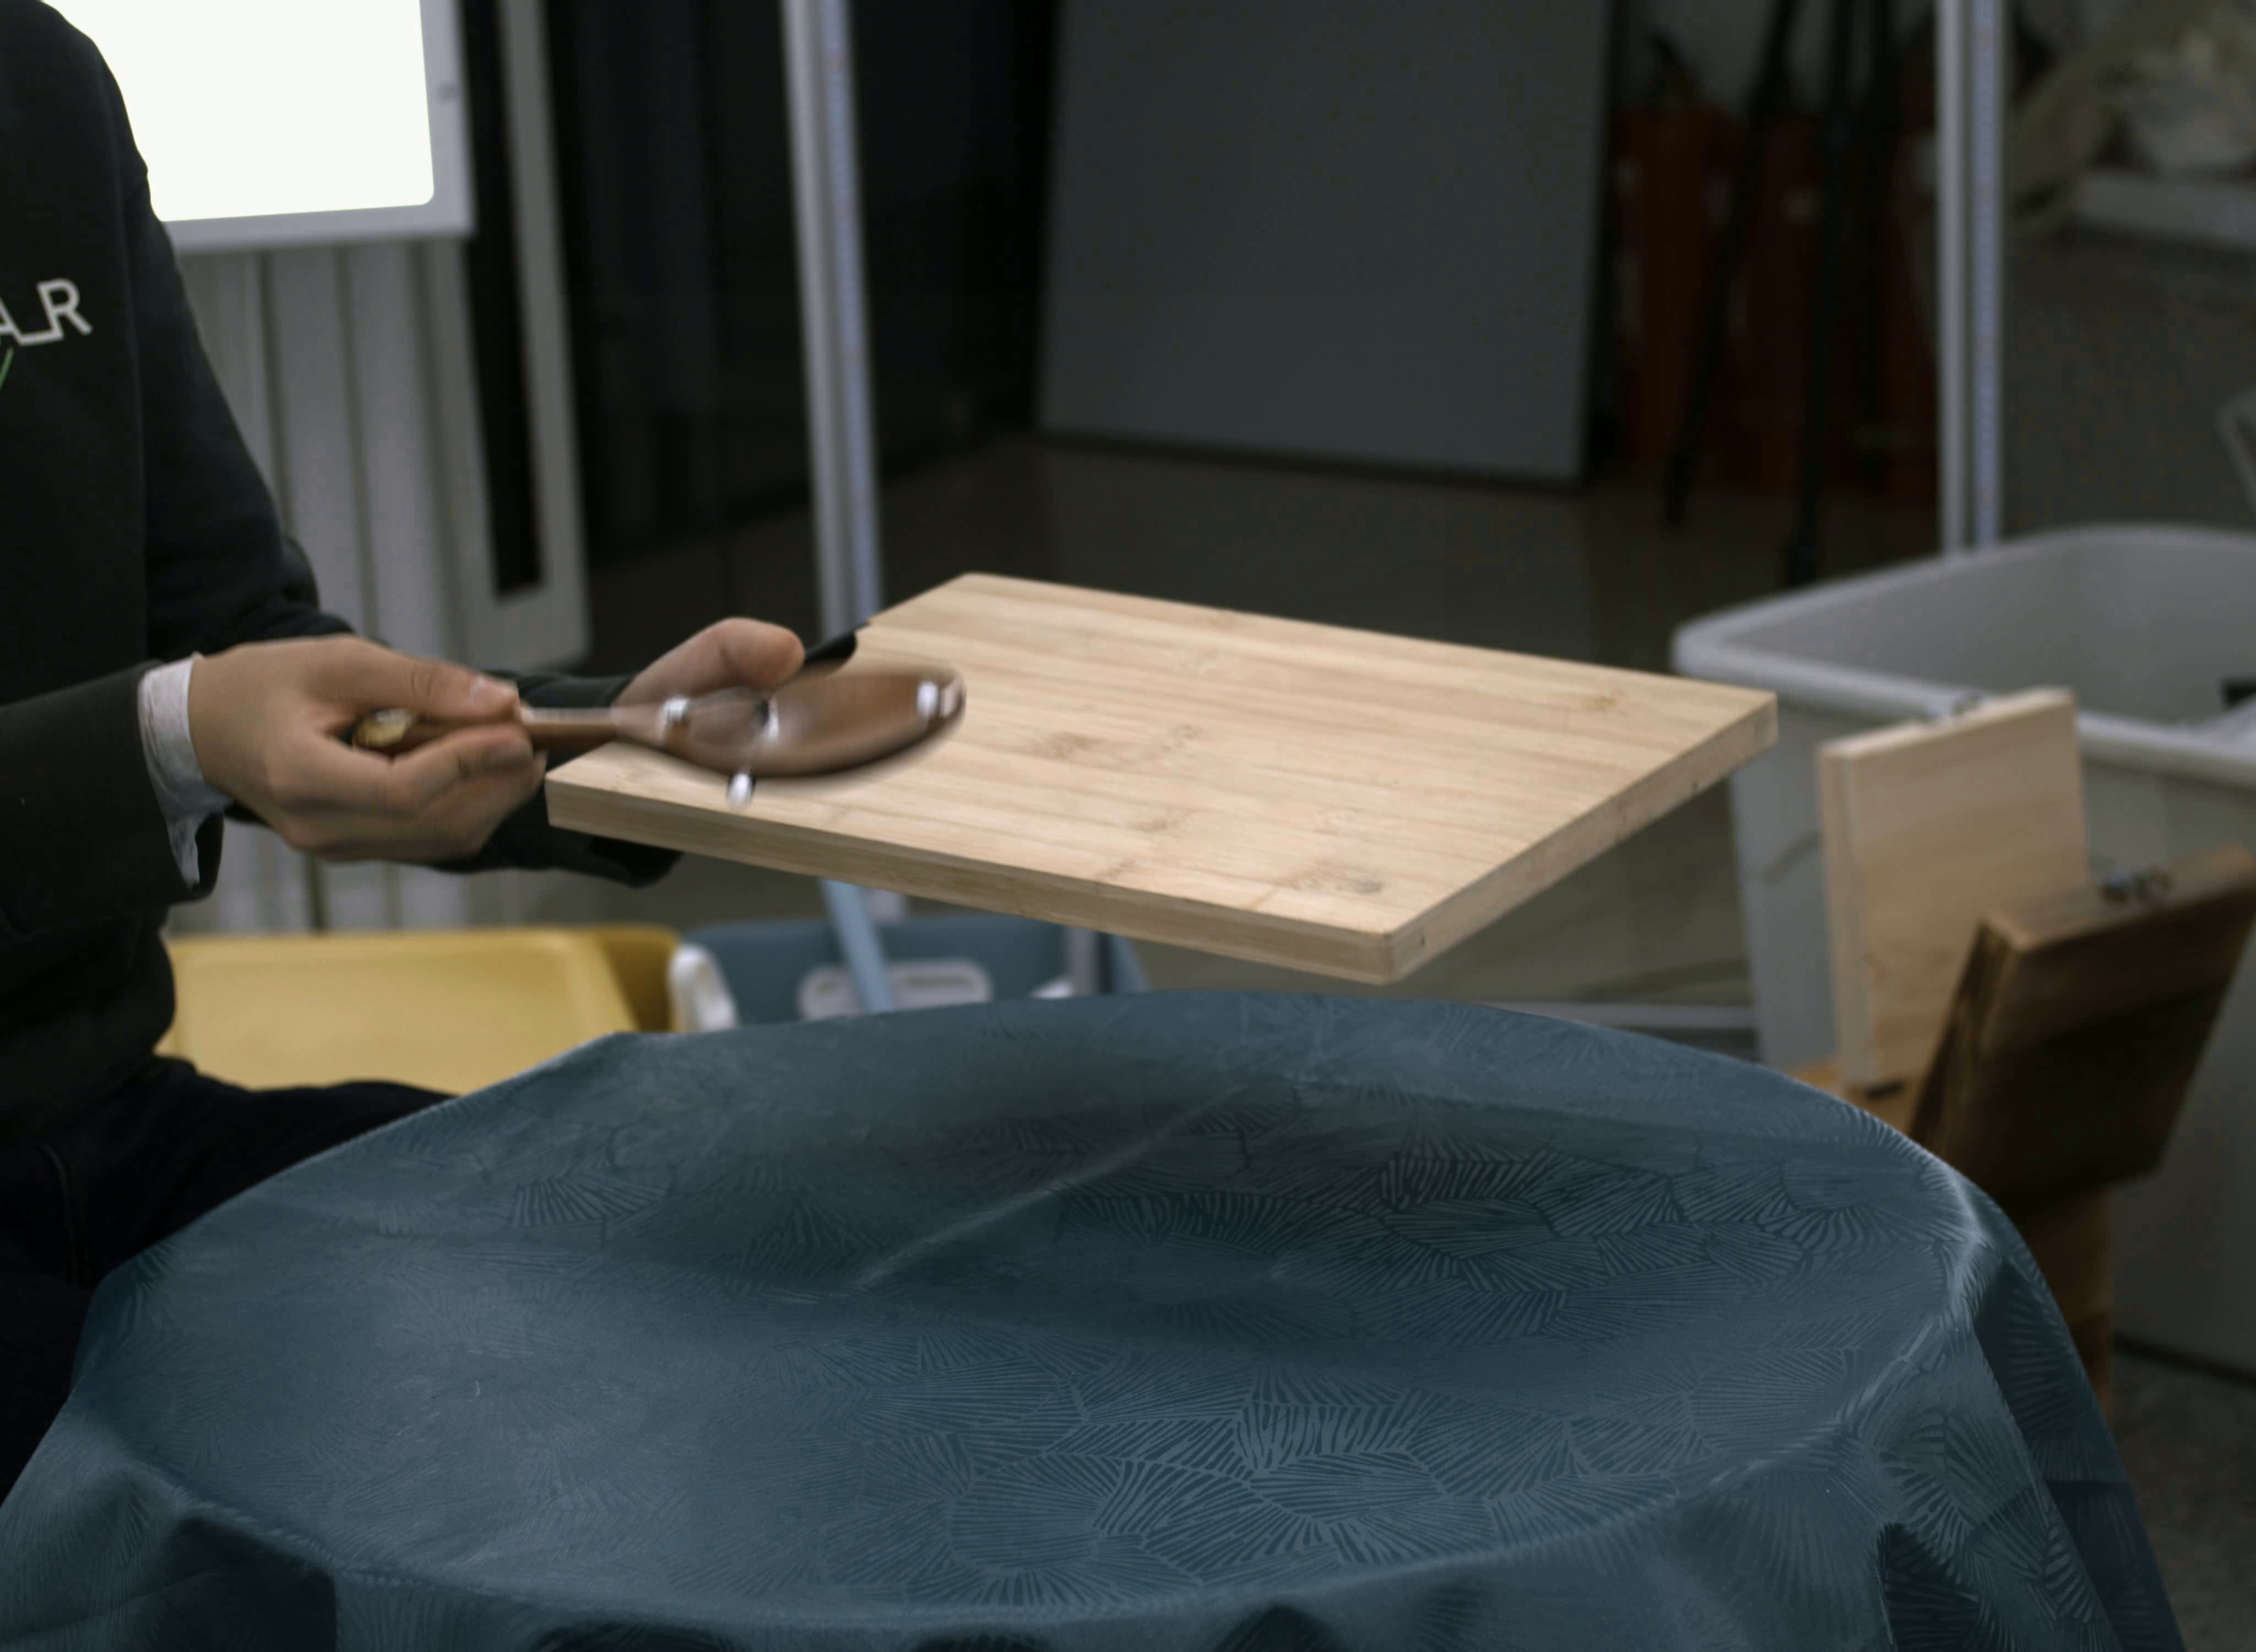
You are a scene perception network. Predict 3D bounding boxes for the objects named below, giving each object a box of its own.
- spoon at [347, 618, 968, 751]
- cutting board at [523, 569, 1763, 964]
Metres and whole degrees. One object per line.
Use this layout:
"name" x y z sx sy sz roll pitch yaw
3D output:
"spoon" -0.144 -0.038 1.636 0.216 0.017 0.075 -2 26 28
"cutting board" 0.004 -0.025 1.788 0.351 0.024 0.246 9 24 35
